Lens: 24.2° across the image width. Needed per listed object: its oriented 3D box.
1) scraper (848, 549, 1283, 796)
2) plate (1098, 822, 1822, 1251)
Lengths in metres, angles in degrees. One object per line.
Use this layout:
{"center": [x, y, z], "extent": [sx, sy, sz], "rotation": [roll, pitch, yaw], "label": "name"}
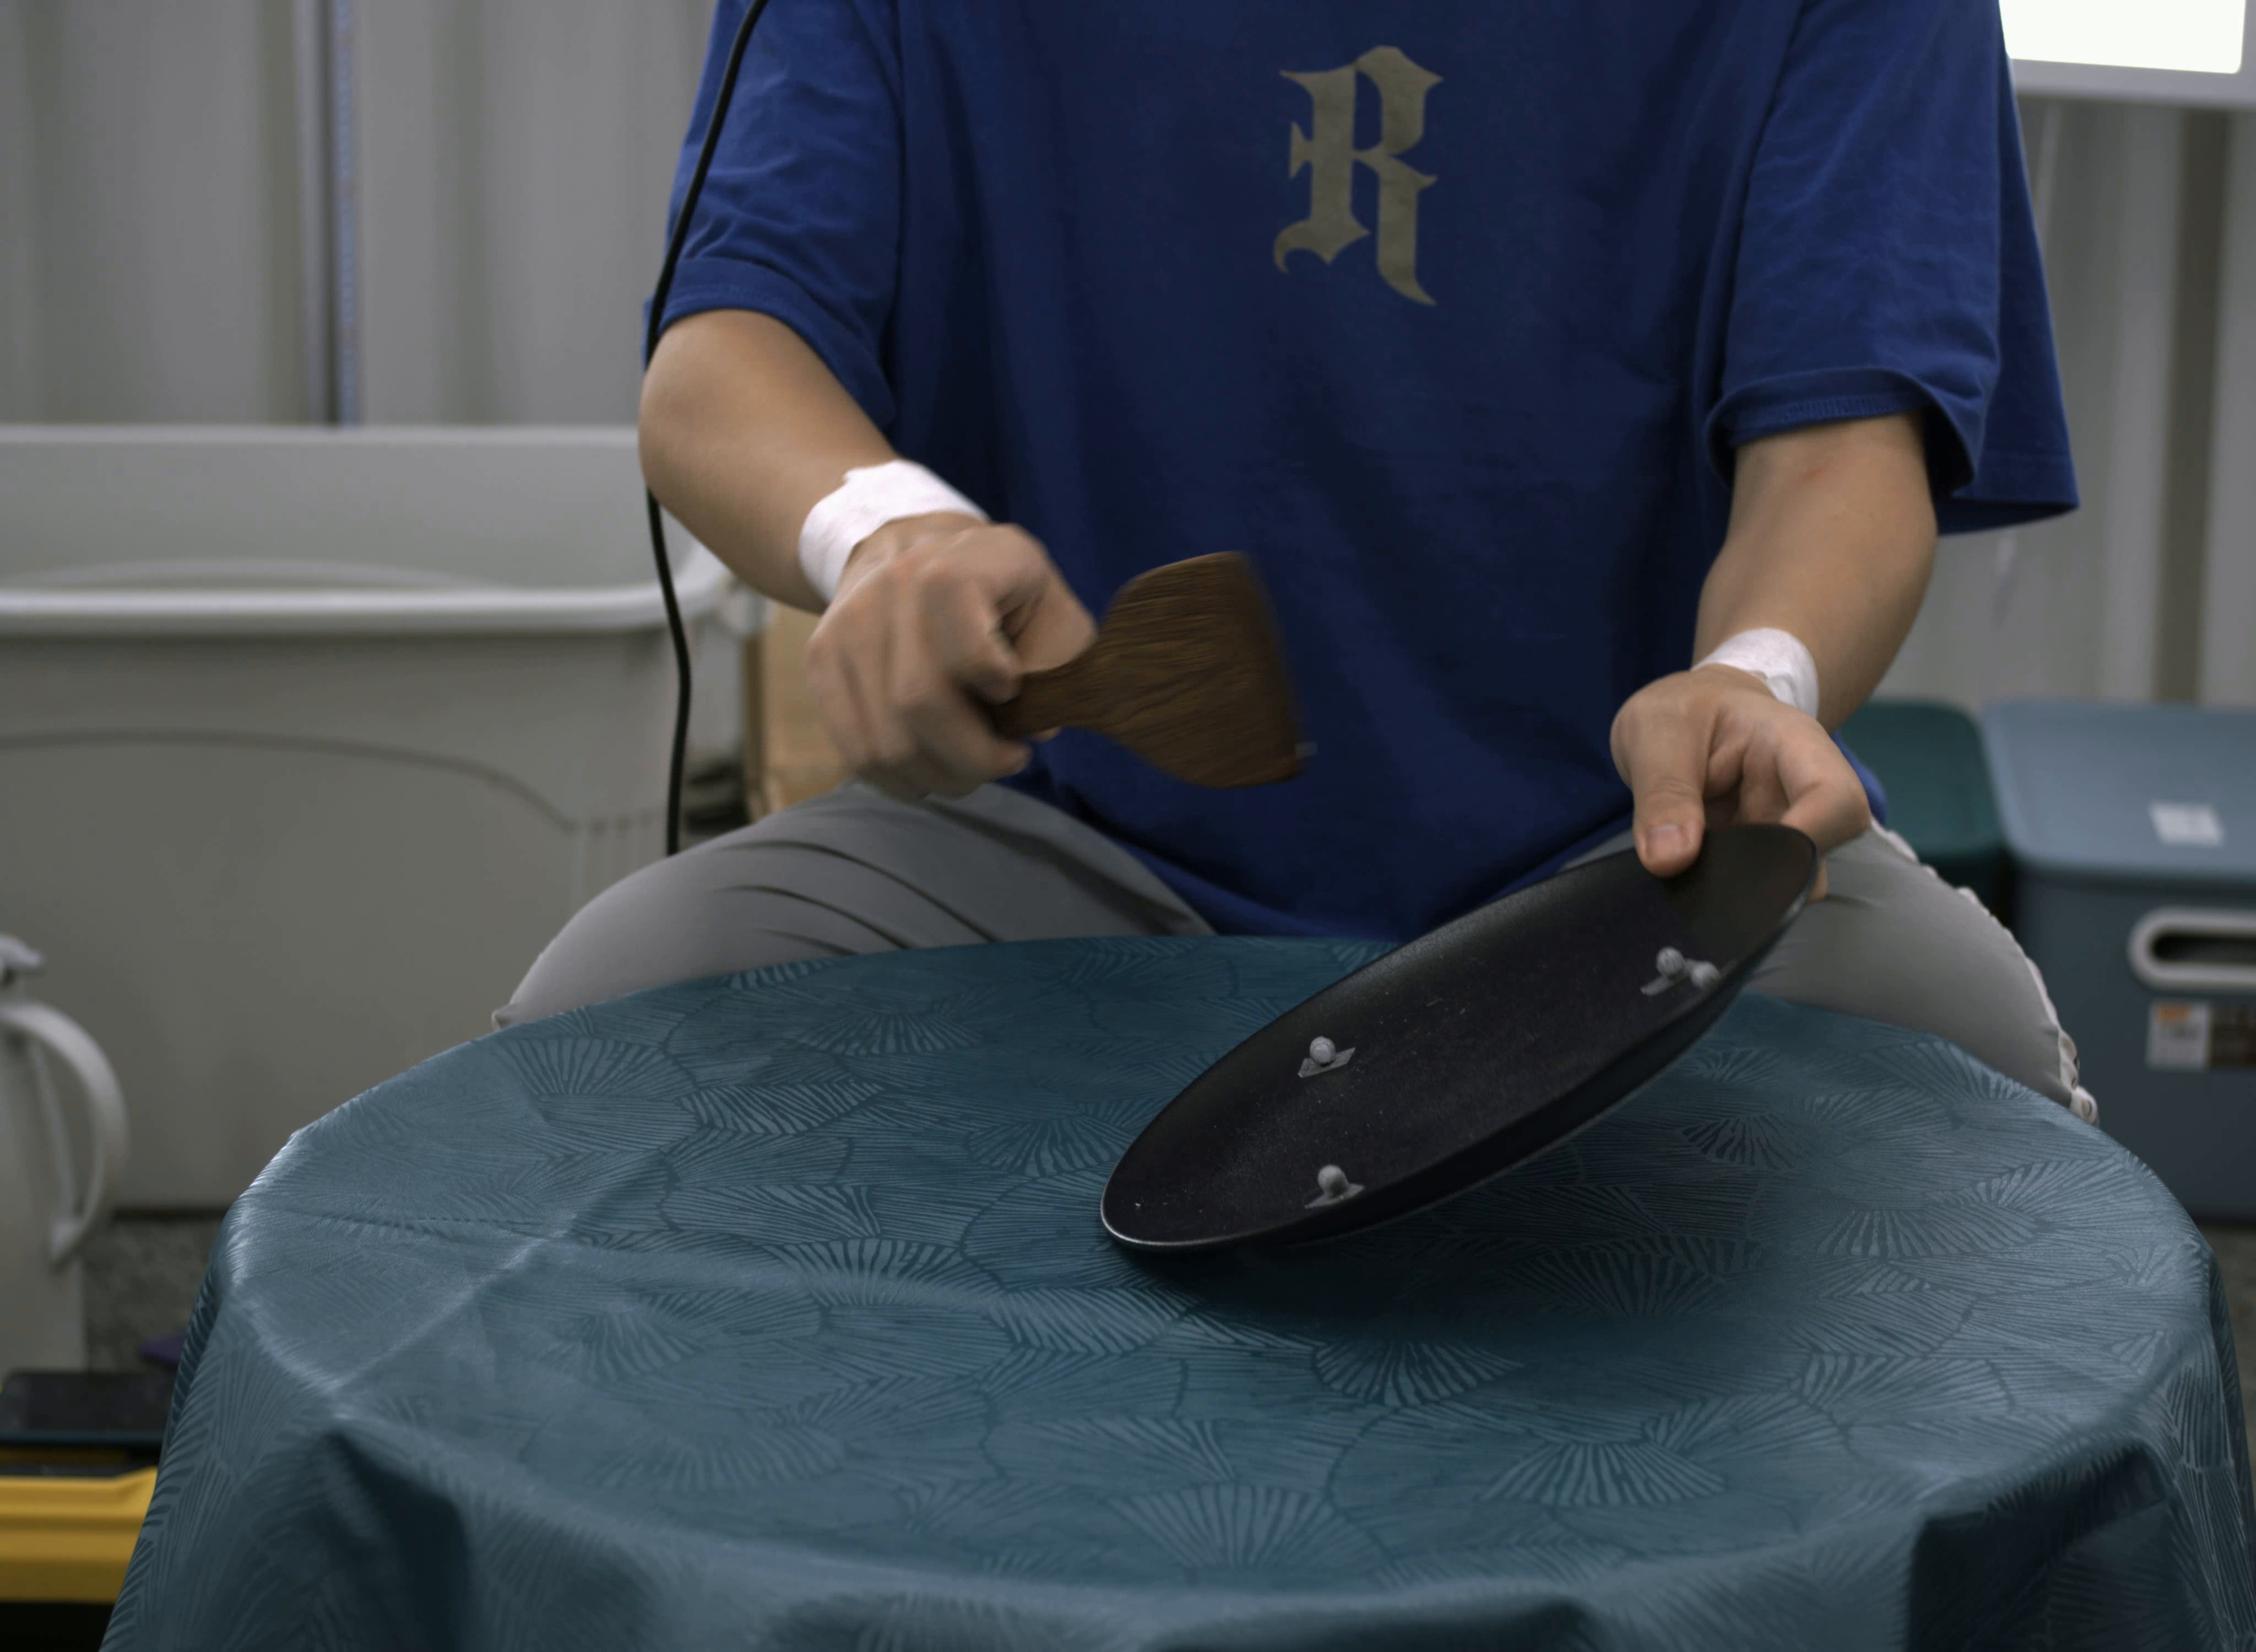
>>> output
{"center": [-0.026, -0.038, 1.653], "extent": [0.011, 0.076, 0.209], "rotation": [-25, 10, -36], "label": "scraper"}
{"center": [0.103, 0.069, 1.587], "extent": [0.243, 0.023, 0.243], "rotation": [-27, 12, 7], "label": "plate"}
